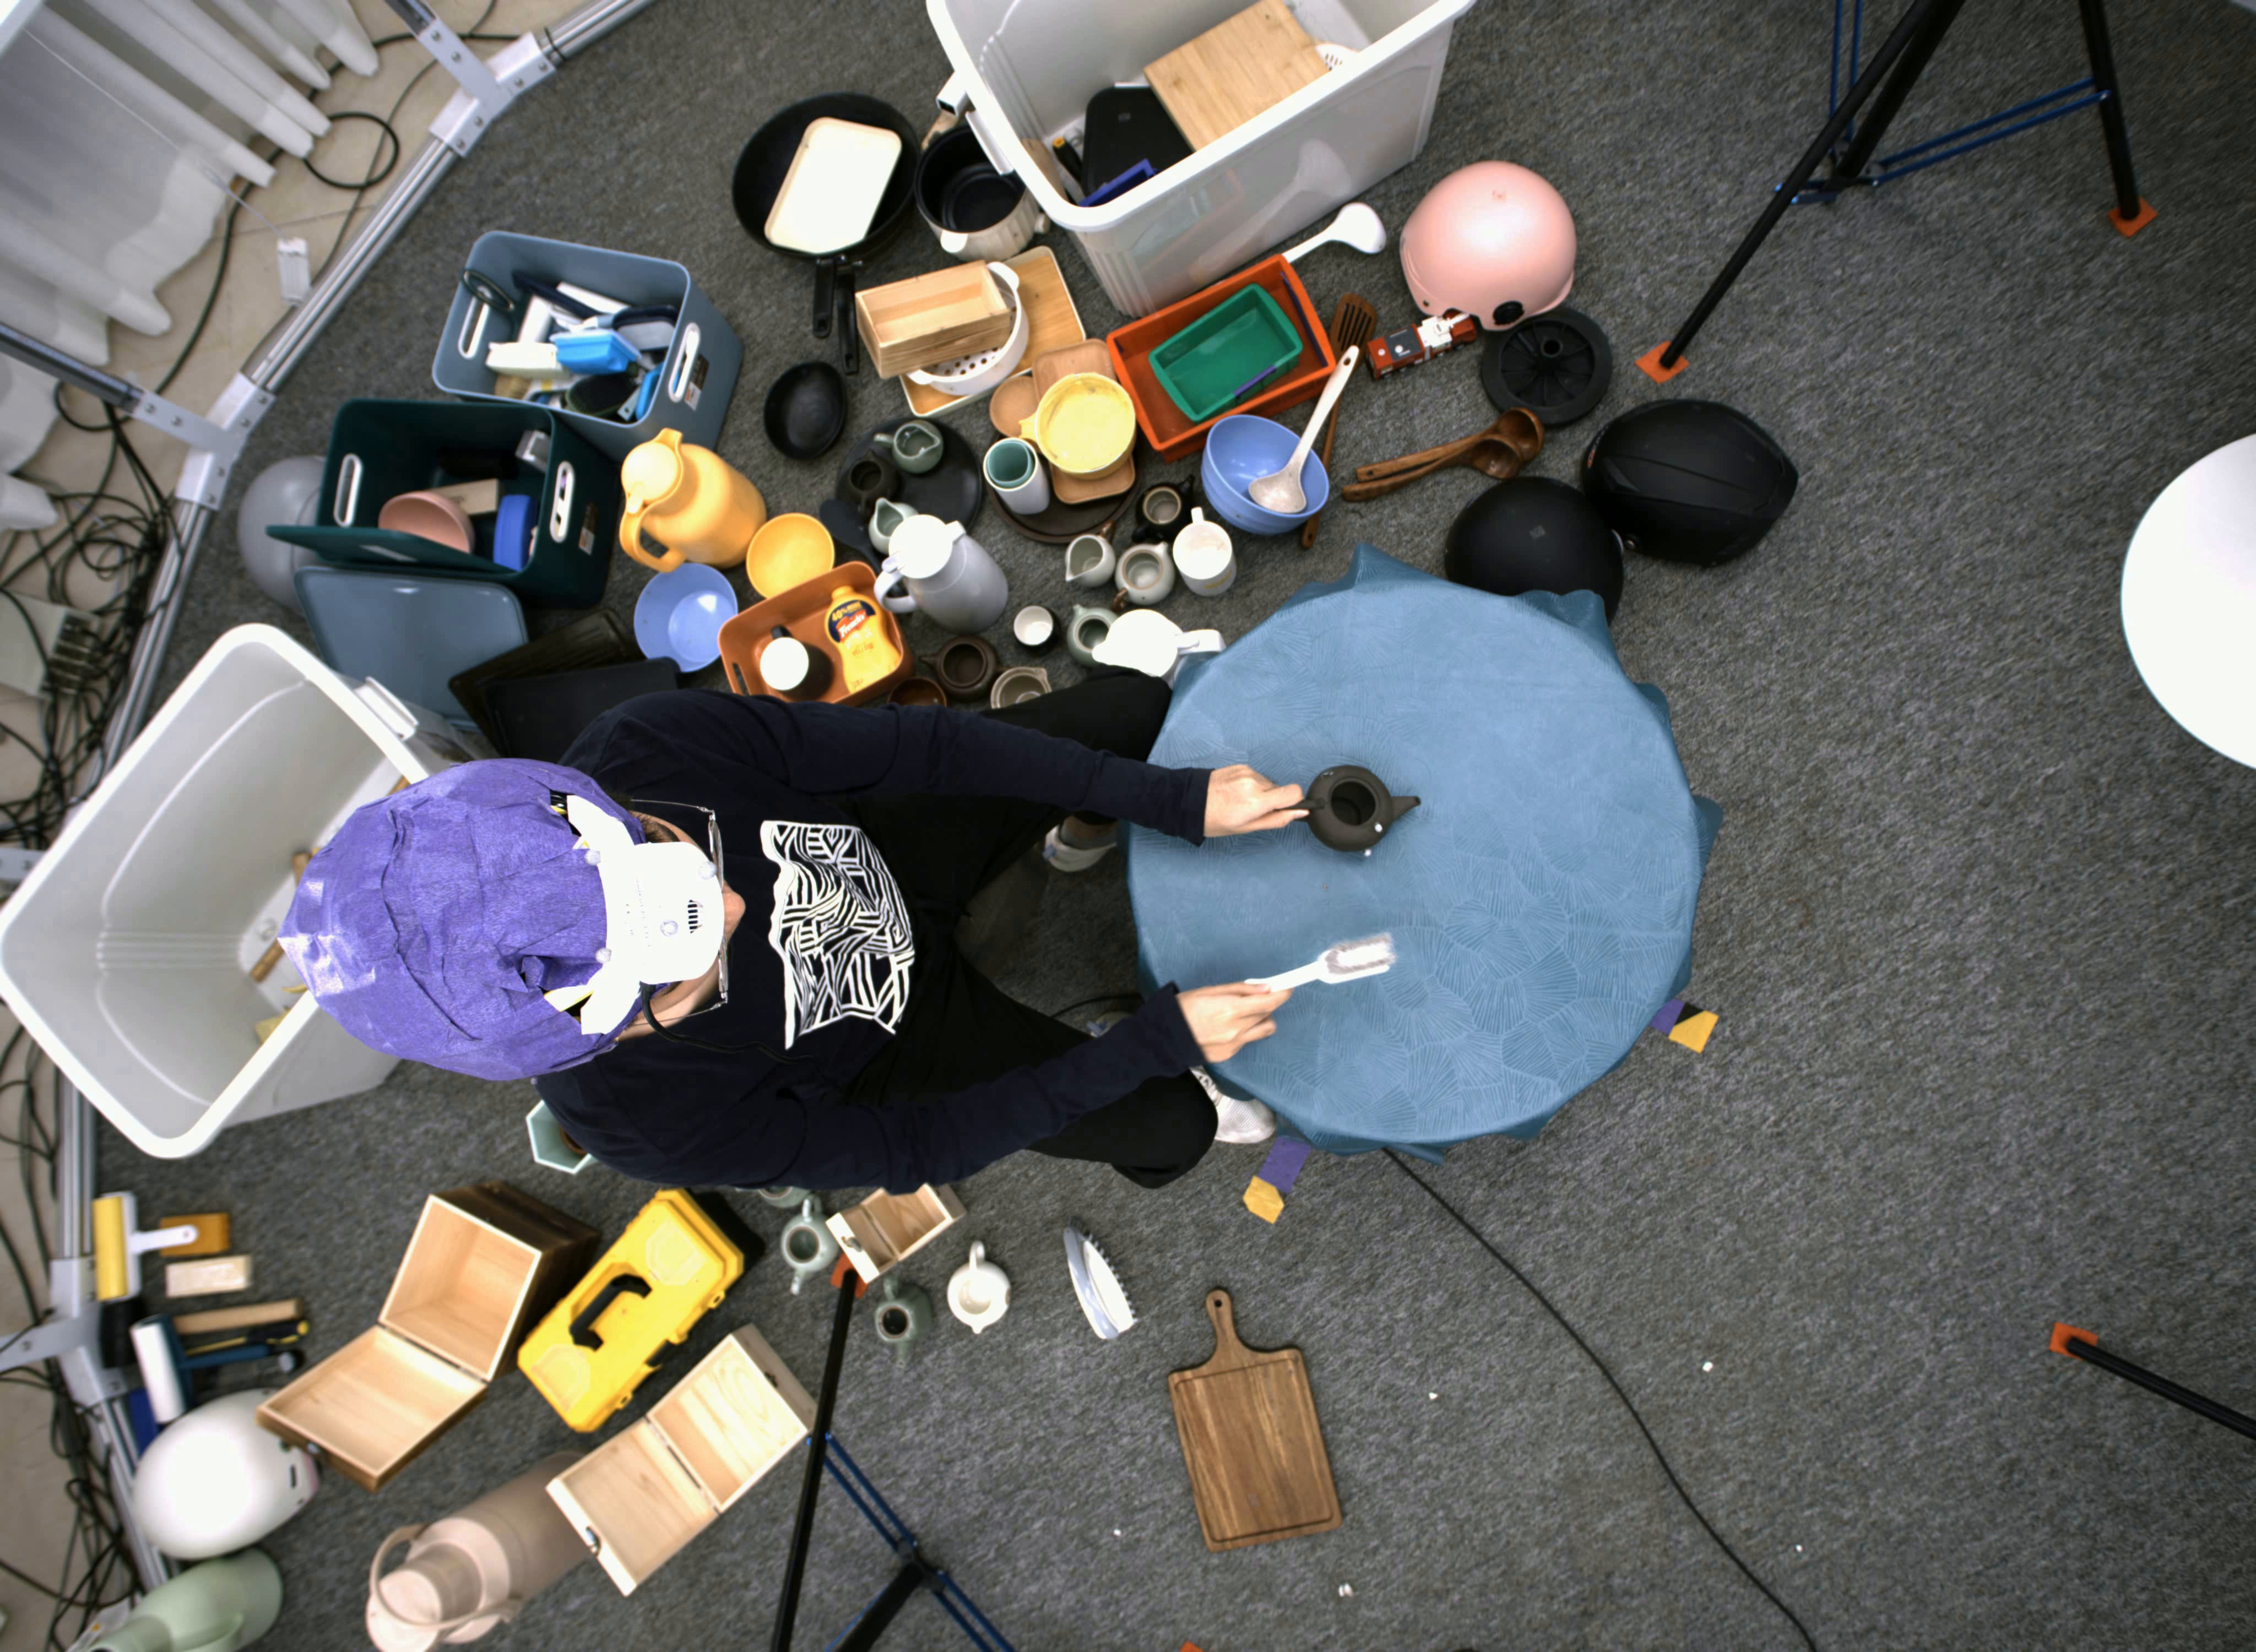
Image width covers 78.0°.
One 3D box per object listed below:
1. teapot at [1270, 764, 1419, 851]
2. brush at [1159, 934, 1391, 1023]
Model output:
[{"bbox_3d":[0.223,-0.019,1.434,0.154,0.065,0.091,-1,76,-6],"label":"teapot"},{"bbox_3d":[0.141,0.152,1.374,0.245,0.050,0.034,-16,71,14],"label":"brush"}]
